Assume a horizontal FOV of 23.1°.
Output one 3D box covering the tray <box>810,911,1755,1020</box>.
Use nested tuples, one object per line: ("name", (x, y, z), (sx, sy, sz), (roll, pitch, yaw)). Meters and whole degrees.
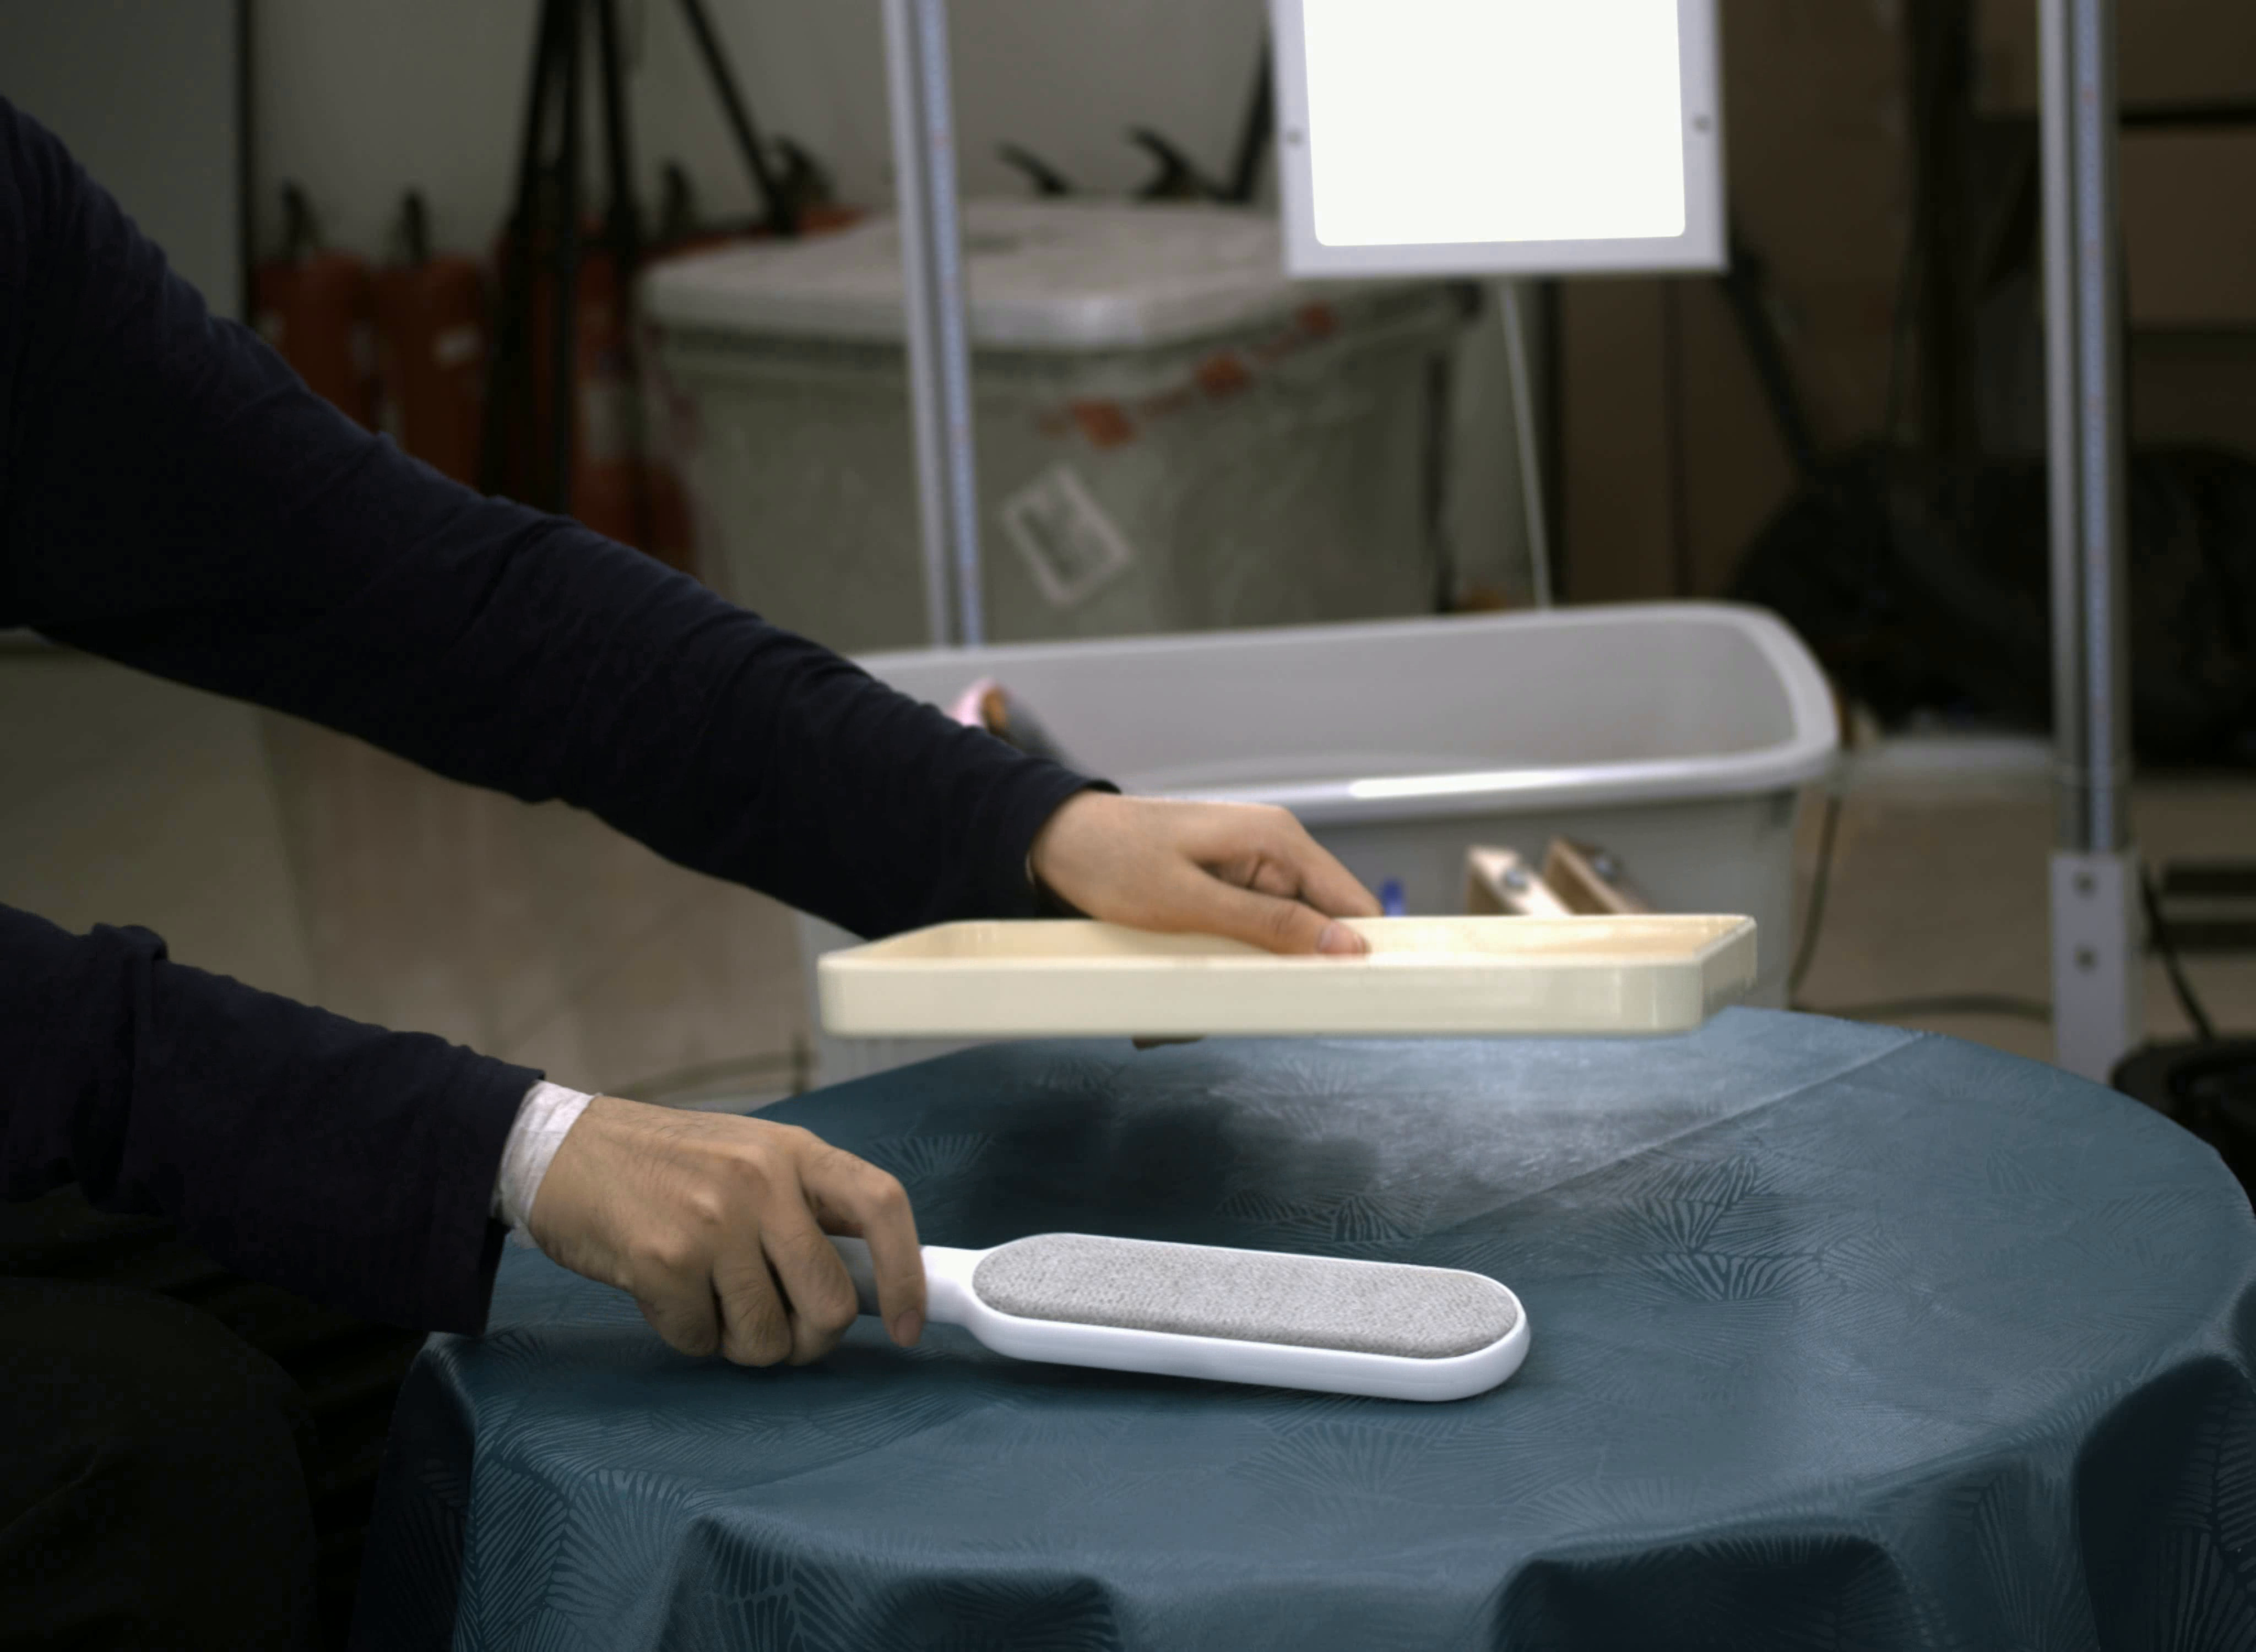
("tray", (0.057, 0.048, 1.889), (0.303, 0.027, 0.189), (-1, 1, 16))

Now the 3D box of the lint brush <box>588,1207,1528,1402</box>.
("lint brush", (-0.026, 0.144, 1.728), (0.313, 0.021, 0.059), (4, 36, 20))
